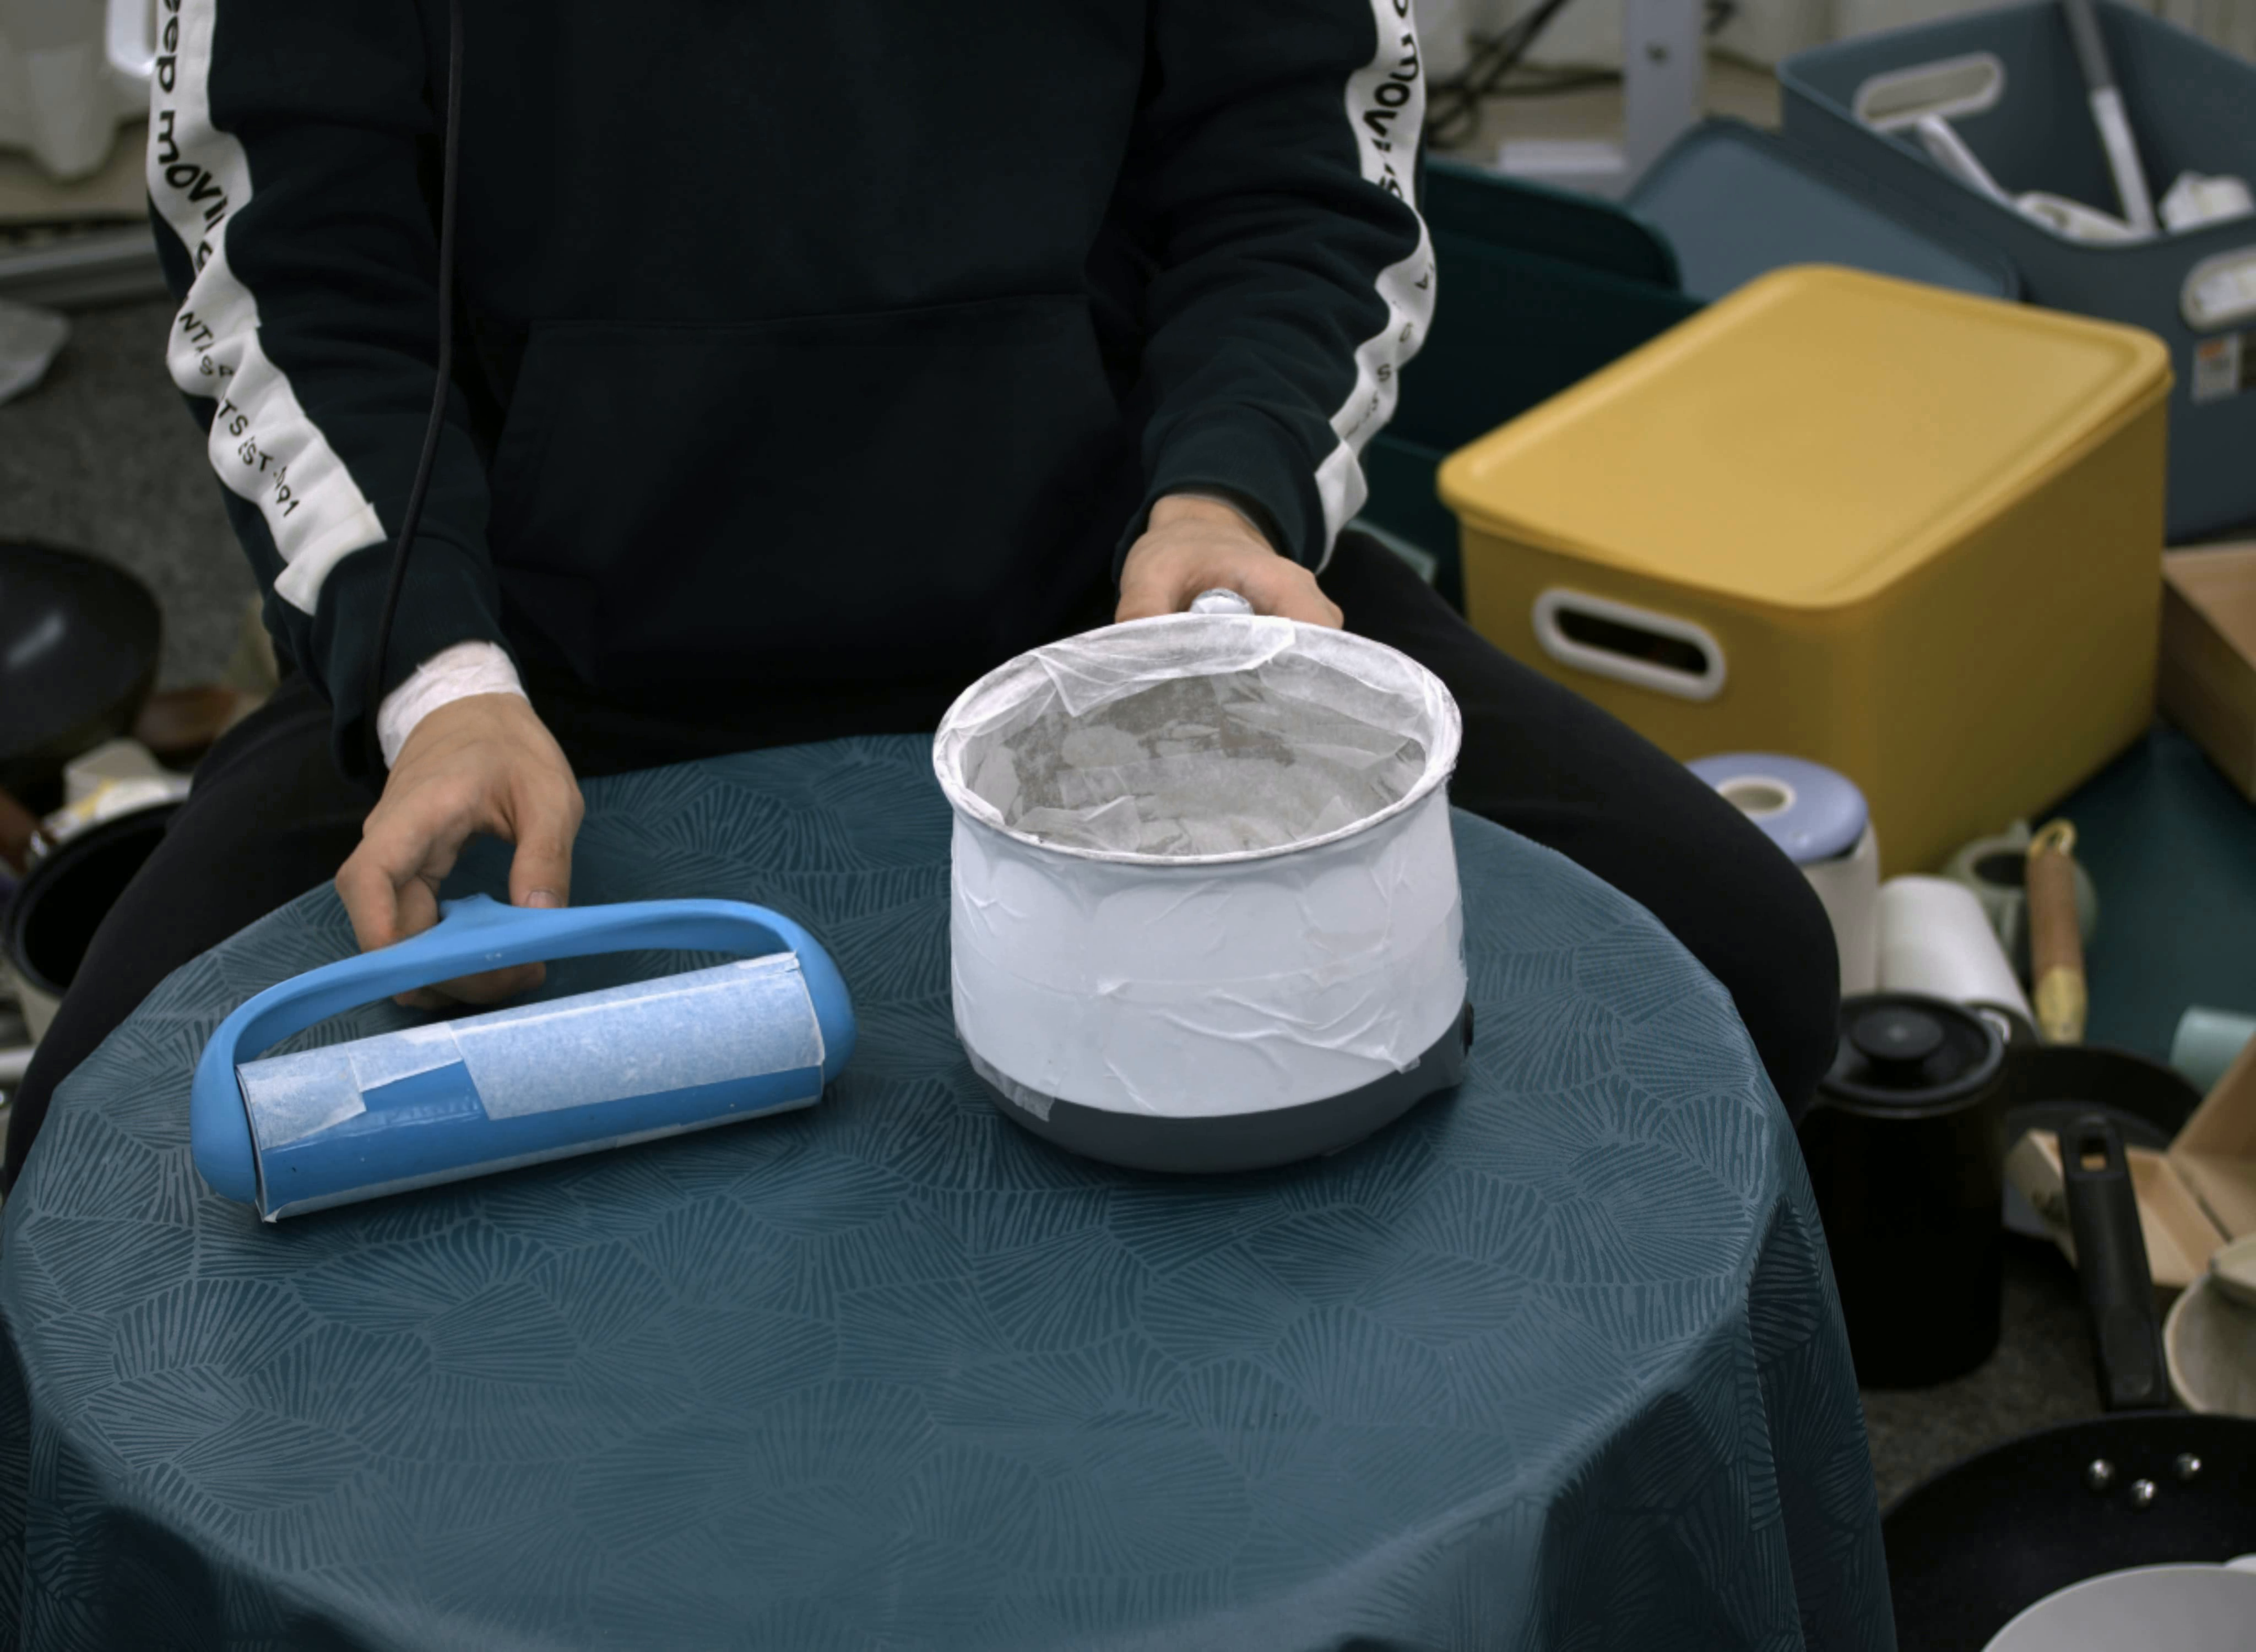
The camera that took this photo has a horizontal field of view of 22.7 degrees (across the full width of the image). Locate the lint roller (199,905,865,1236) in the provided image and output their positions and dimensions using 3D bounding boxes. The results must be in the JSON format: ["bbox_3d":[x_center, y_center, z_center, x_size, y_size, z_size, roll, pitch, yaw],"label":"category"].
[{"bbox_3d":[-0.221,0.064,1.933,0.229,0.067,0.181,-15,30,-18],"label":"lint roller"}]

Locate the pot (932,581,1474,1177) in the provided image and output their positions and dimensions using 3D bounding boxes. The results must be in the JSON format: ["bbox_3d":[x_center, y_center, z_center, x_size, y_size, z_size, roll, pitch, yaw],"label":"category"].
[{"bbox_3d":[0.028,0.011,1.920,0.178,0.135,0.237,0,29,5],"label":"pot"}]
